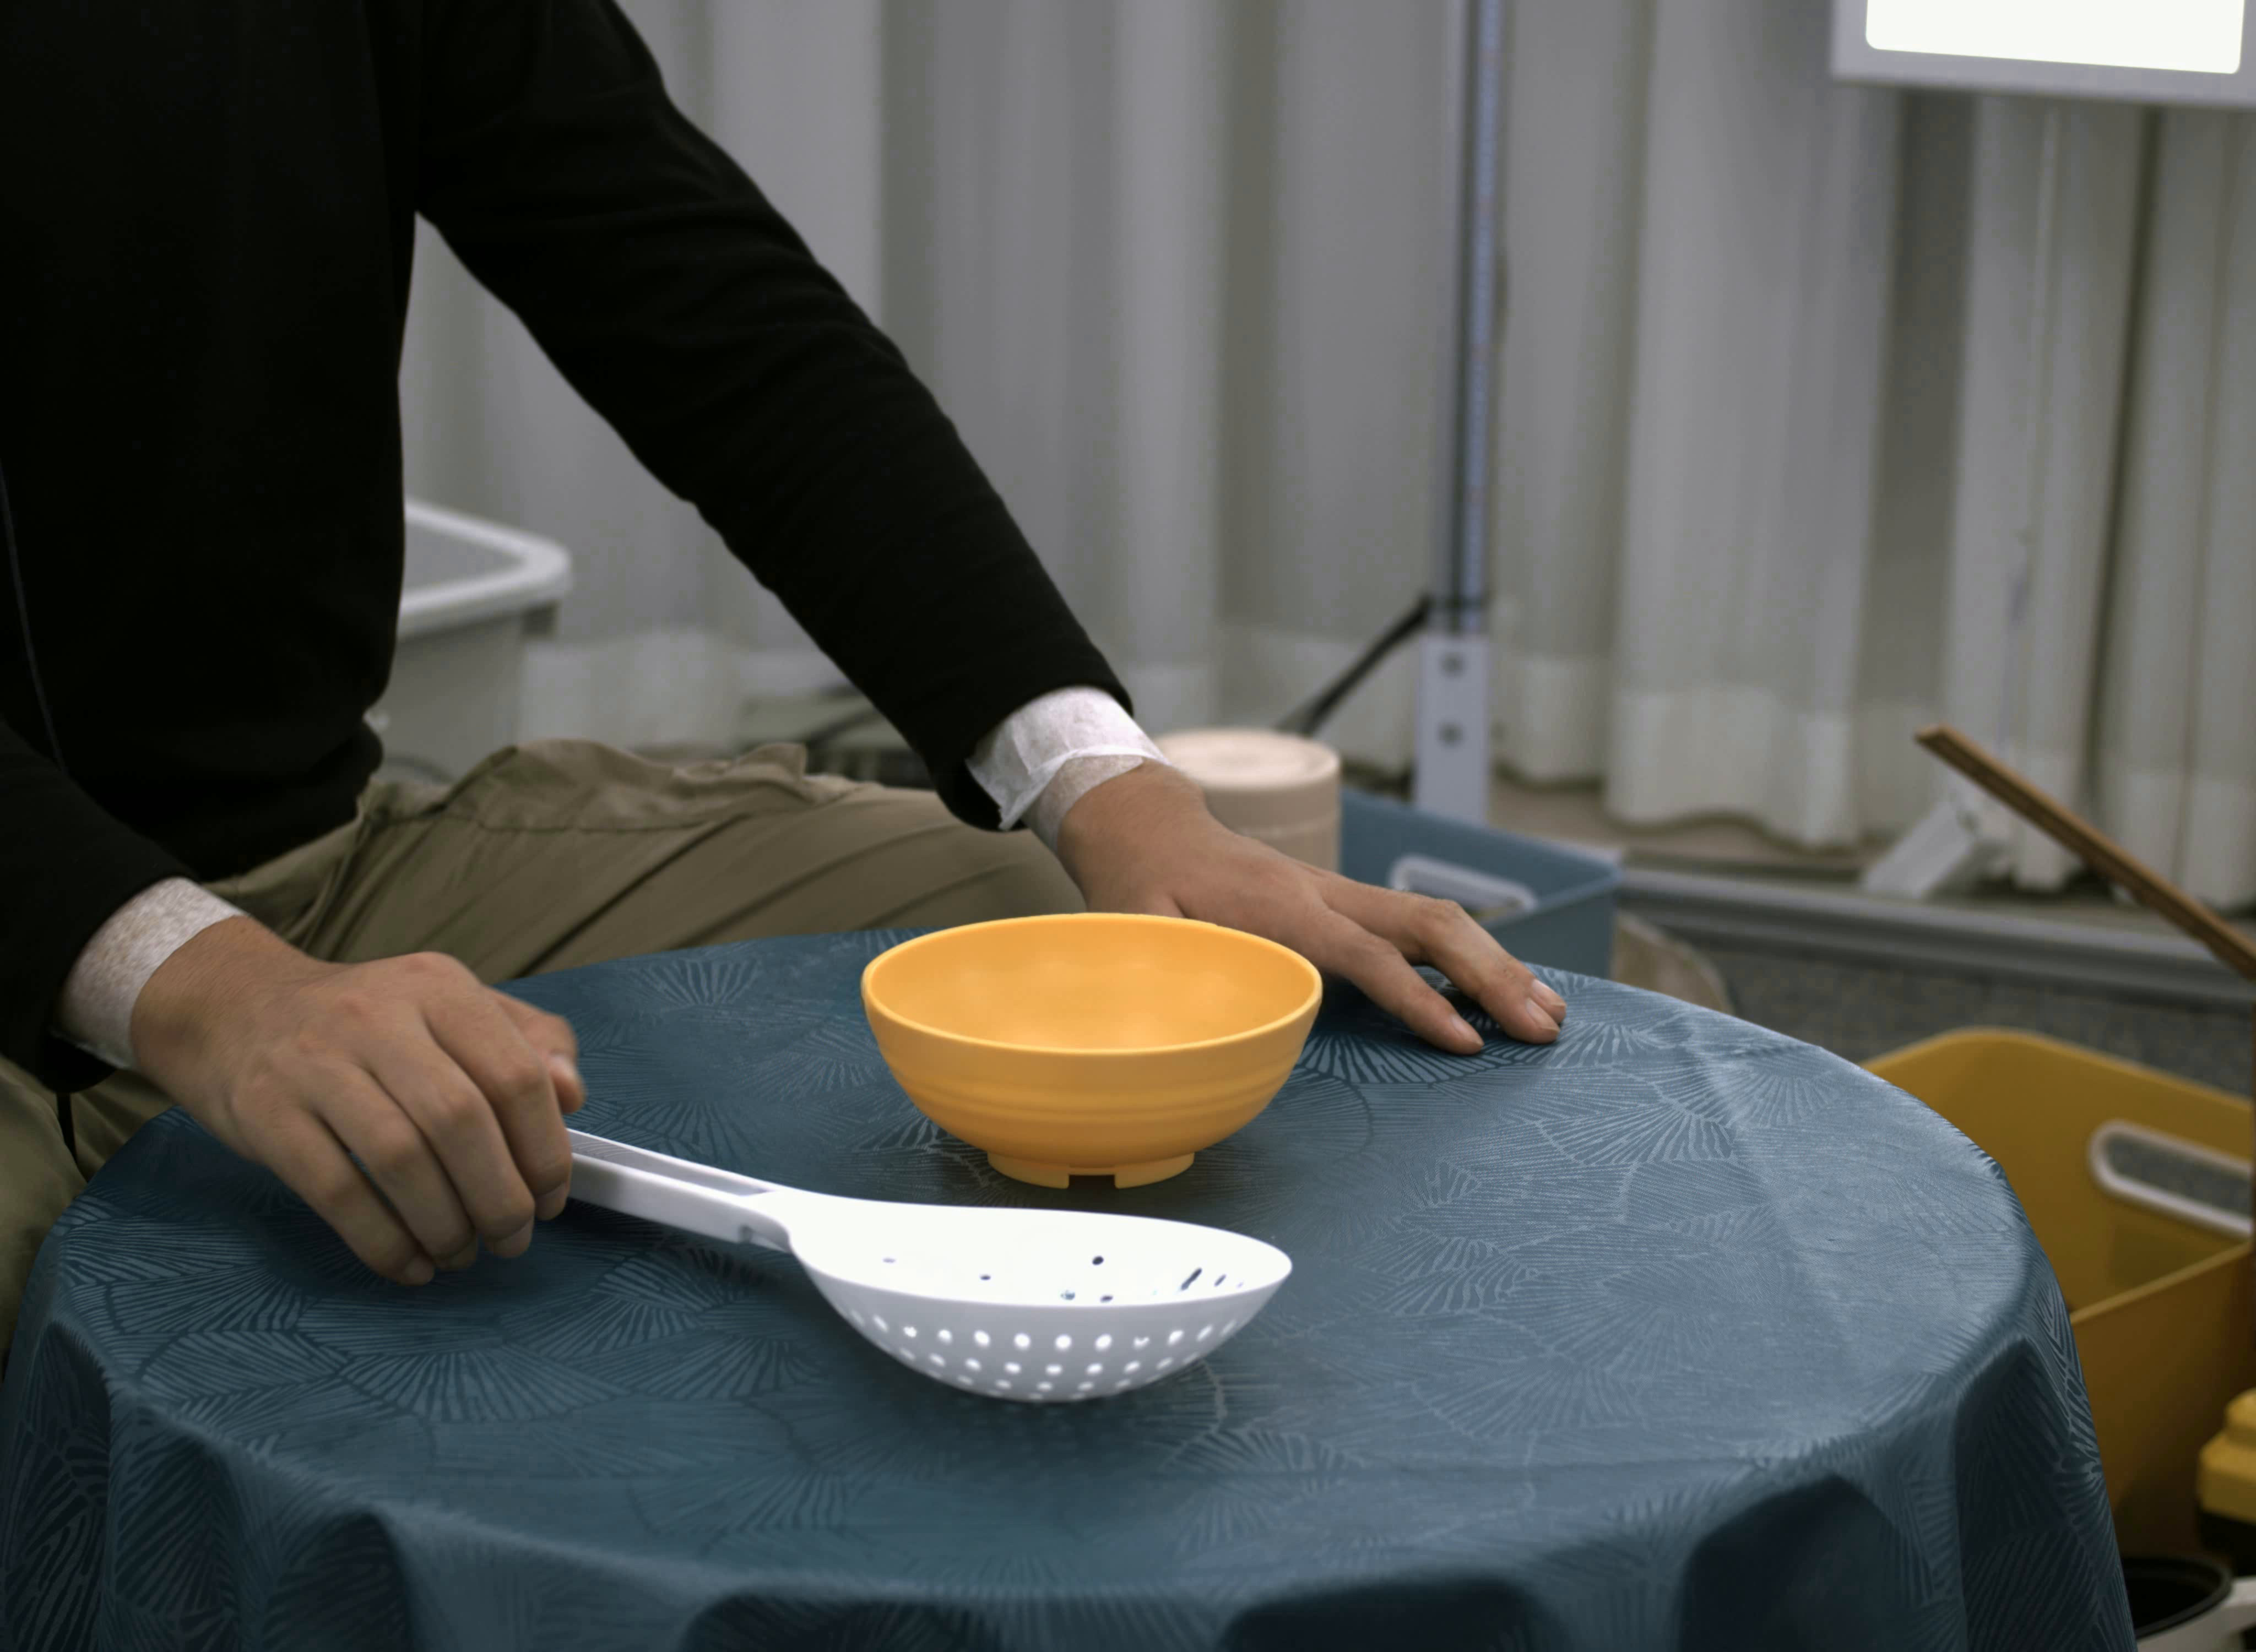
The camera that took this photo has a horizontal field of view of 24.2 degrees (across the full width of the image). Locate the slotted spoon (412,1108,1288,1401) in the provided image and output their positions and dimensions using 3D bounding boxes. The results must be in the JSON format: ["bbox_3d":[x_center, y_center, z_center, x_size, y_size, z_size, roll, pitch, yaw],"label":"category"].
[{"bbox_3d":[-0.097,0.114,1.524,0.137,0.046,0.345,-5,14,-43],"label":"slotted spoon"}]

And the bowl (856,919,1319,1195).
[{"bbox_3d":[-0.014,0.077,1.644,0.145,0.060,0.144,2,15,0],"label":"bowl"}]
